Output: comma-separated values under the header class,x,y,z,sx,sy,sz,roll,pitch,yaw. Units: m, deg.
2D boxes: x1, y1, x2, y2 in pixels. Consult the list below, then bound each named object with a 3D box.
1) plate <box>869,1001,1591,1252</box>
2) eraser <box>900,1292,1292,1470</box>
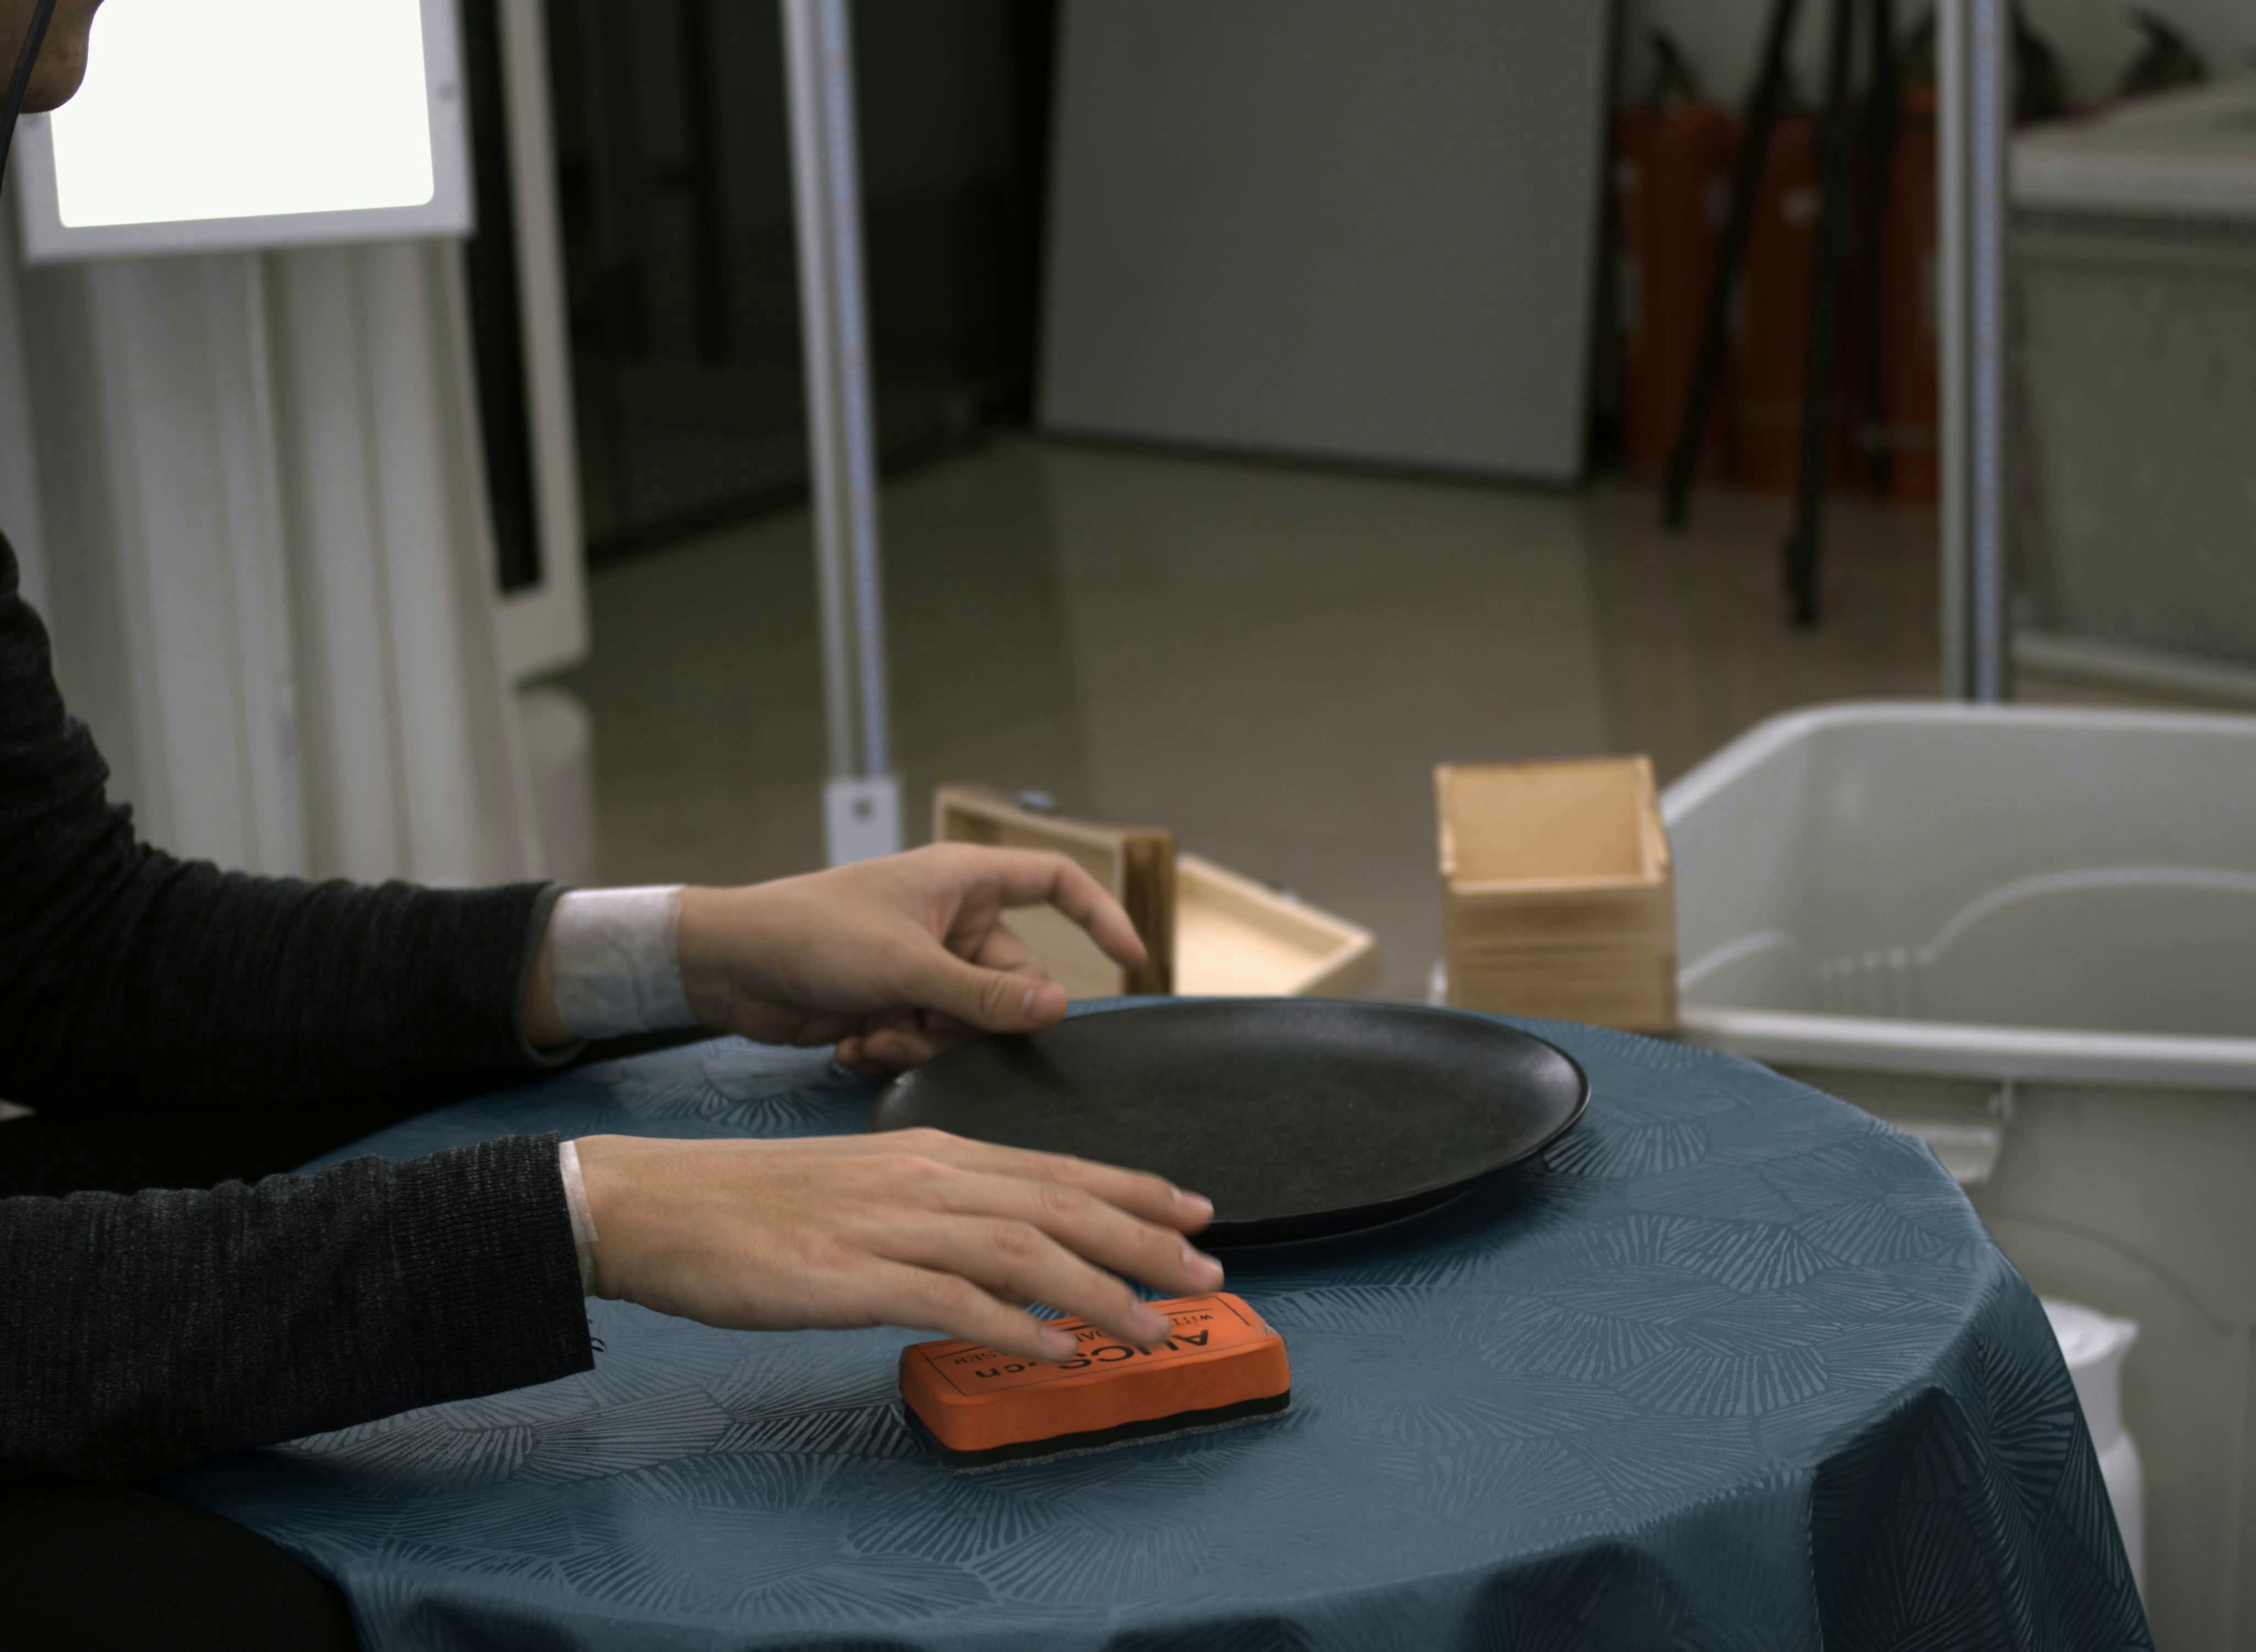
class,x,y,z,sx,sy,sz,roll,pitch,yaw
plate,0.035,0.102,1.789,0.241,0.024,0.245,-4,14,0
eraser,-0.009,0.160,1.562,0.106,0.023,0.059,-8,13,-16
